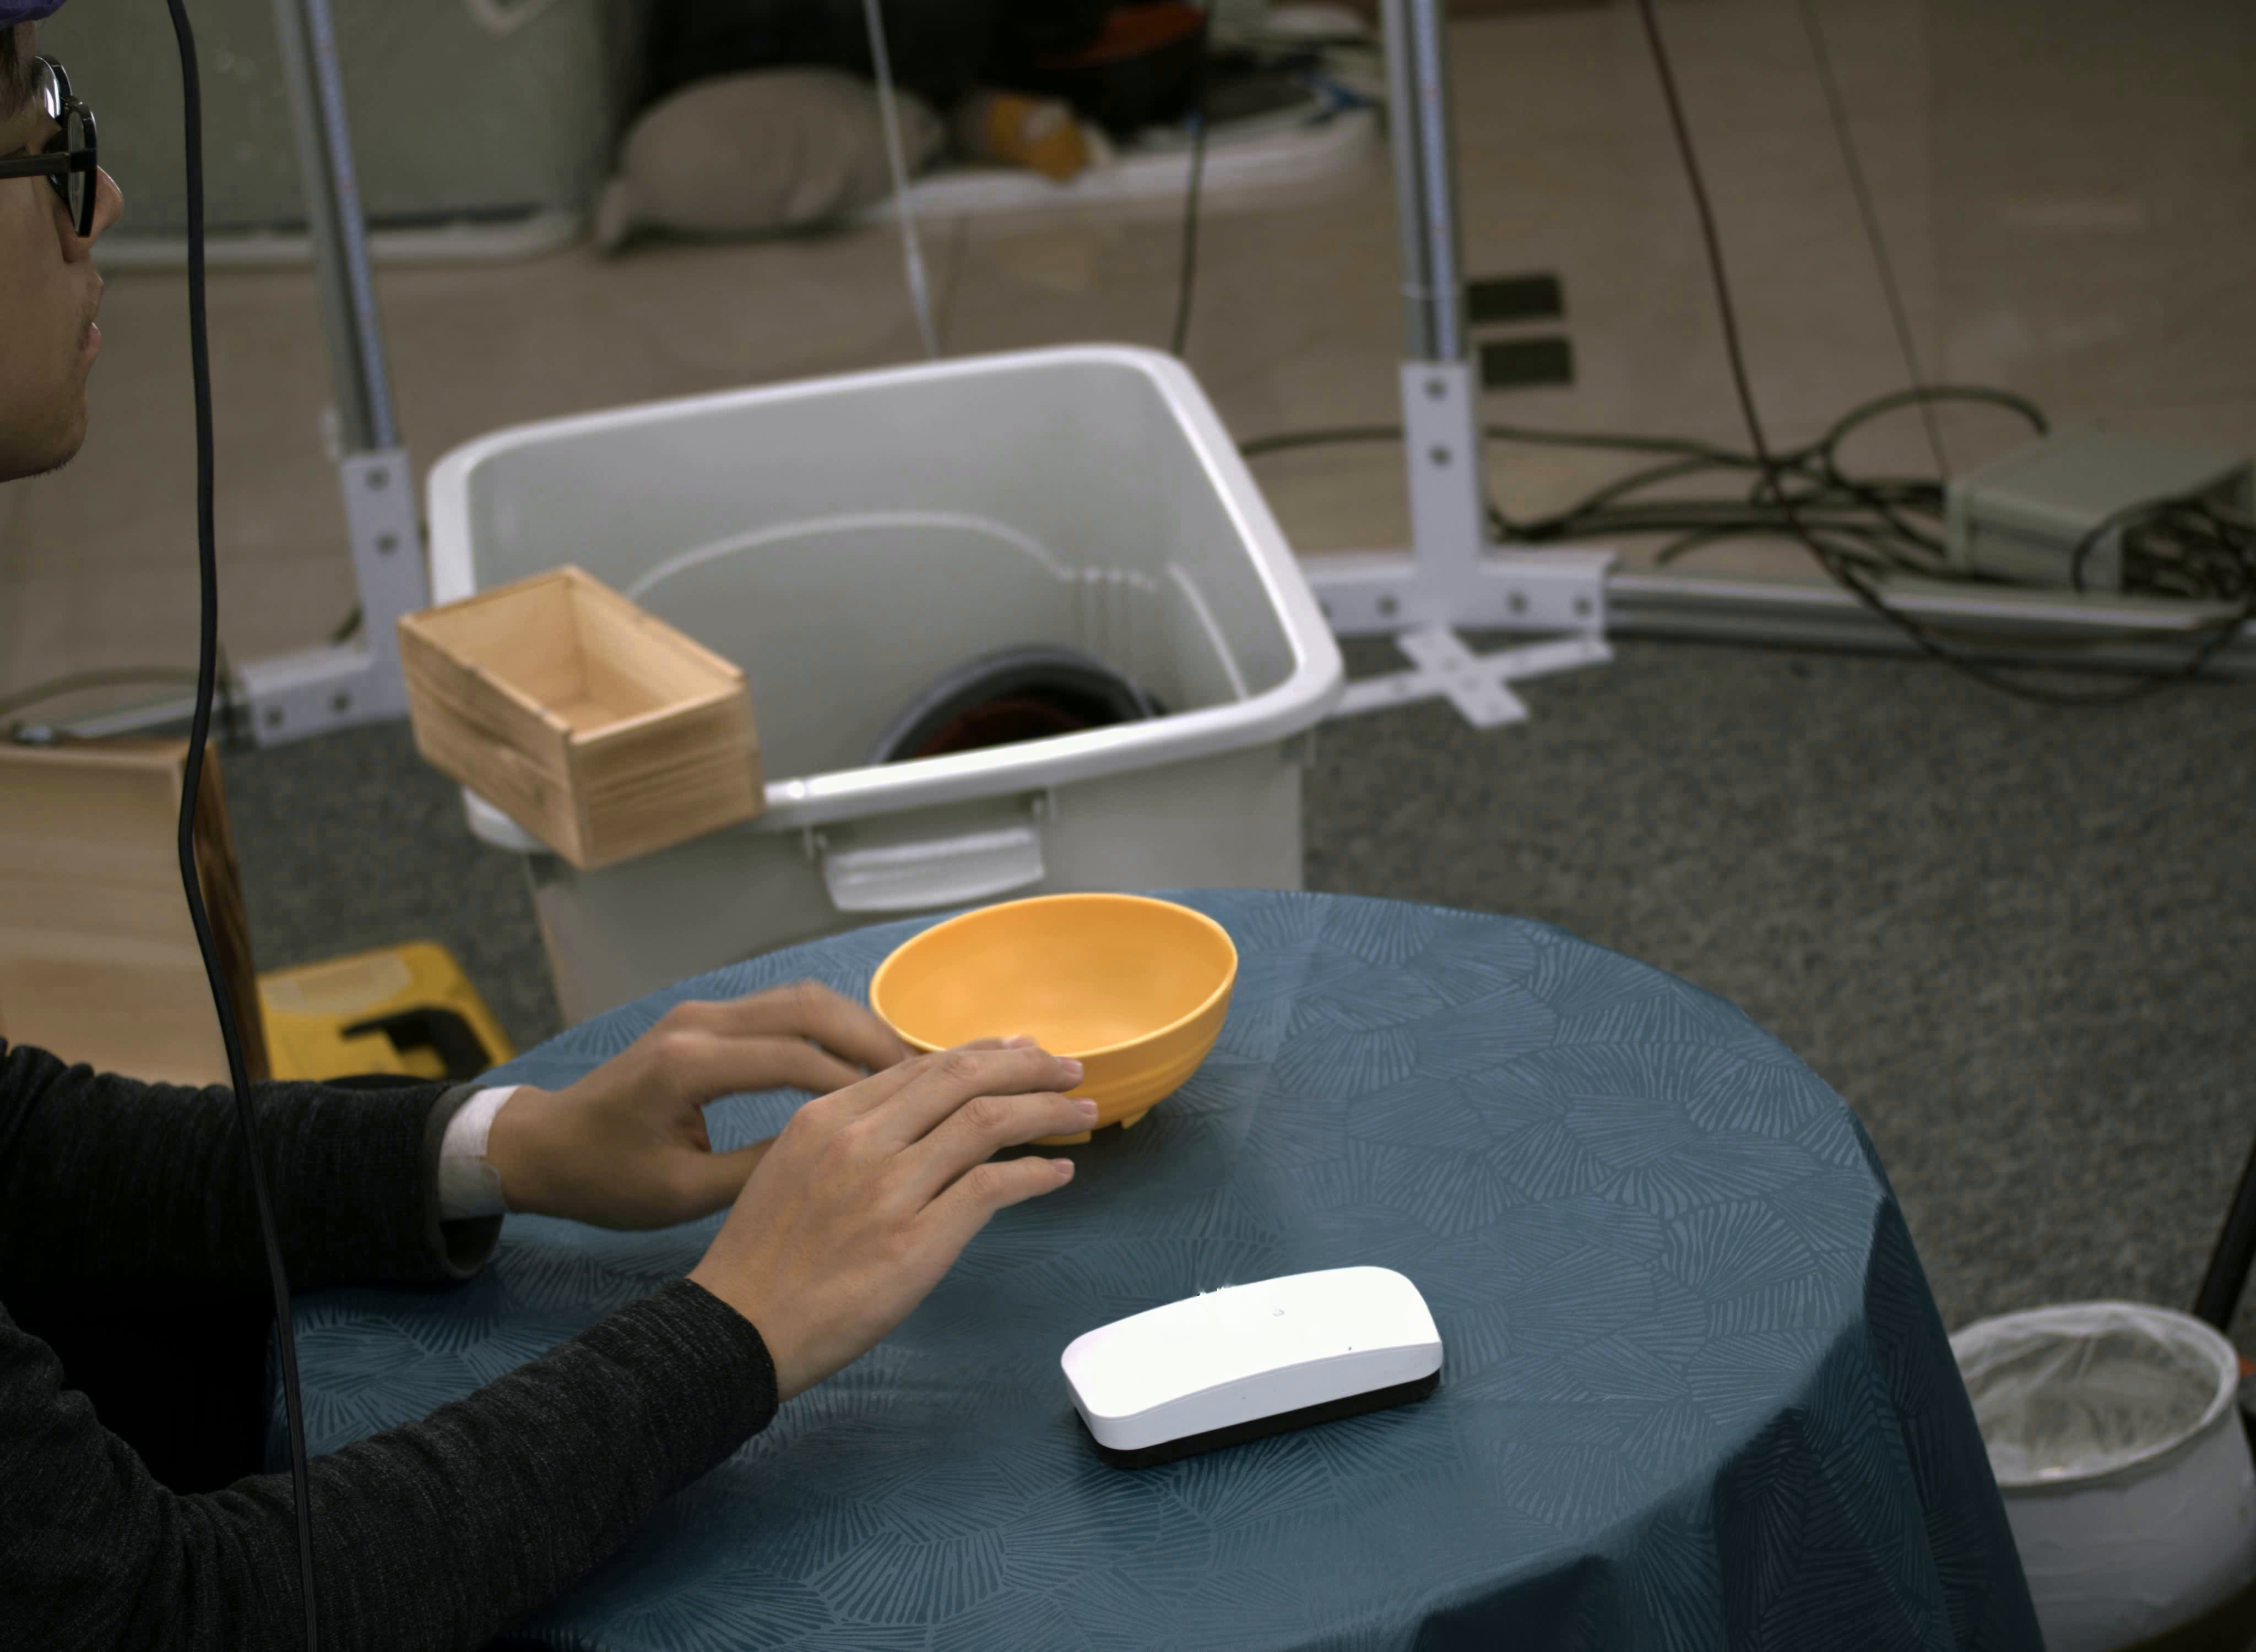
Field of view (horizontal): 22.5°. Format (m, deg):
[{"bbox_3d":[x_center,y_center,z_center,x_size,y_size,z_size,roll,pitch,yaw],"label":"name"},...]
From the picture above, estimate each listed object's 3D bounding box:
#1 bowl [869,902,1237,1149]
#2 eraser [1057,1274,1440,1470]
[{"bbox_3d":[-0.026,0.085,2.202,0.145,0.061,0.143,-6,24,3],"label":"bowl"},{"bbox_3d":[0.042,0.188,1.995,0.131,0.035,0.062,-11,25,-13],"label":"eraser"}]
